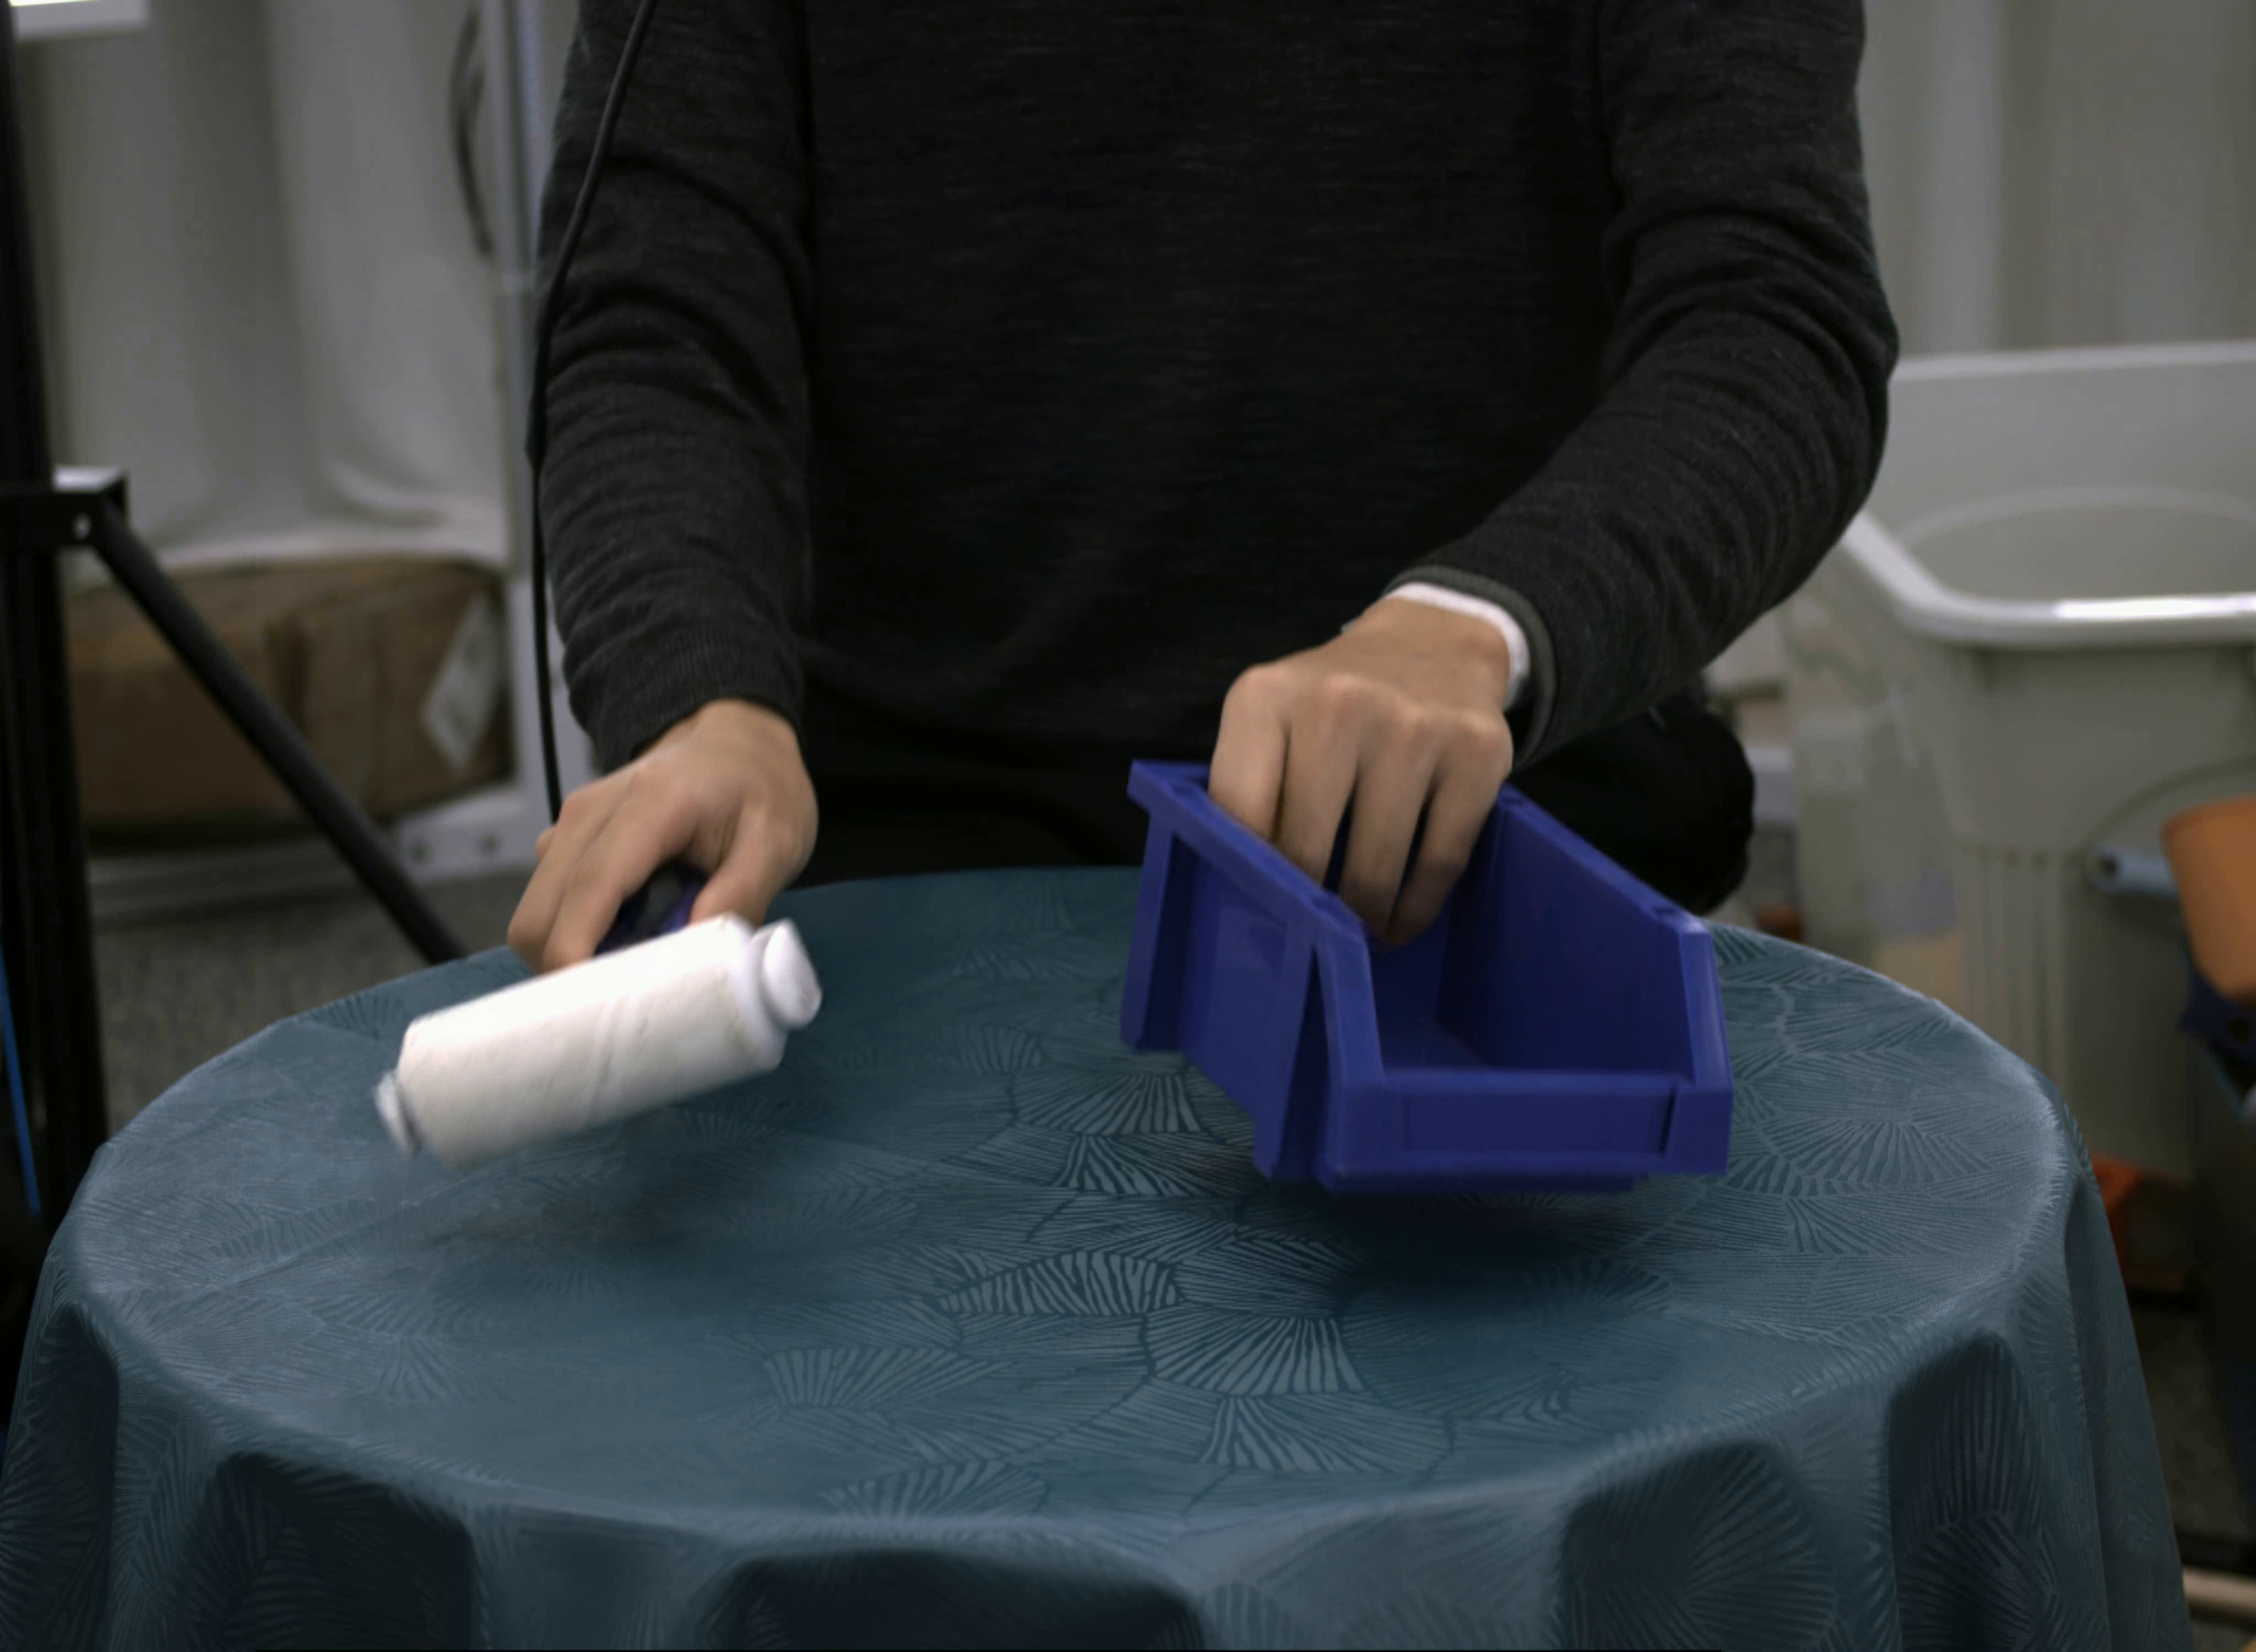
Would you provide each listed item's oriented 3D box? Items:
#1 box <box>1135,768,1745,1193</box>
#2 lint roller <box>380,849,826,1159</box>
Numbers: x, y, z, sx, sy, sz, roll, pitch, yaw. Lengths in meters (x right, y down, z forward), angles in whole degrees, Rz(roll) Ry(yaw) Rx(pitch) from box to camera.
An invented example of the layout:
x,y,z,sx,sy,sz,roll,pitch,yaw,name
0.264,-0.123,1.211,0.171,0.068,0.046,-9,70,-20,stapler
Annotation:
x,y,z,sx,sy,sz,roll,pitch,yaw,name
0.088,0.047,1.512,0.122,0.082,0.182,3,13,-21,box
-0.148,0.032,1.593,0.133,0.050,0.181,-20,23,12,lint roller
